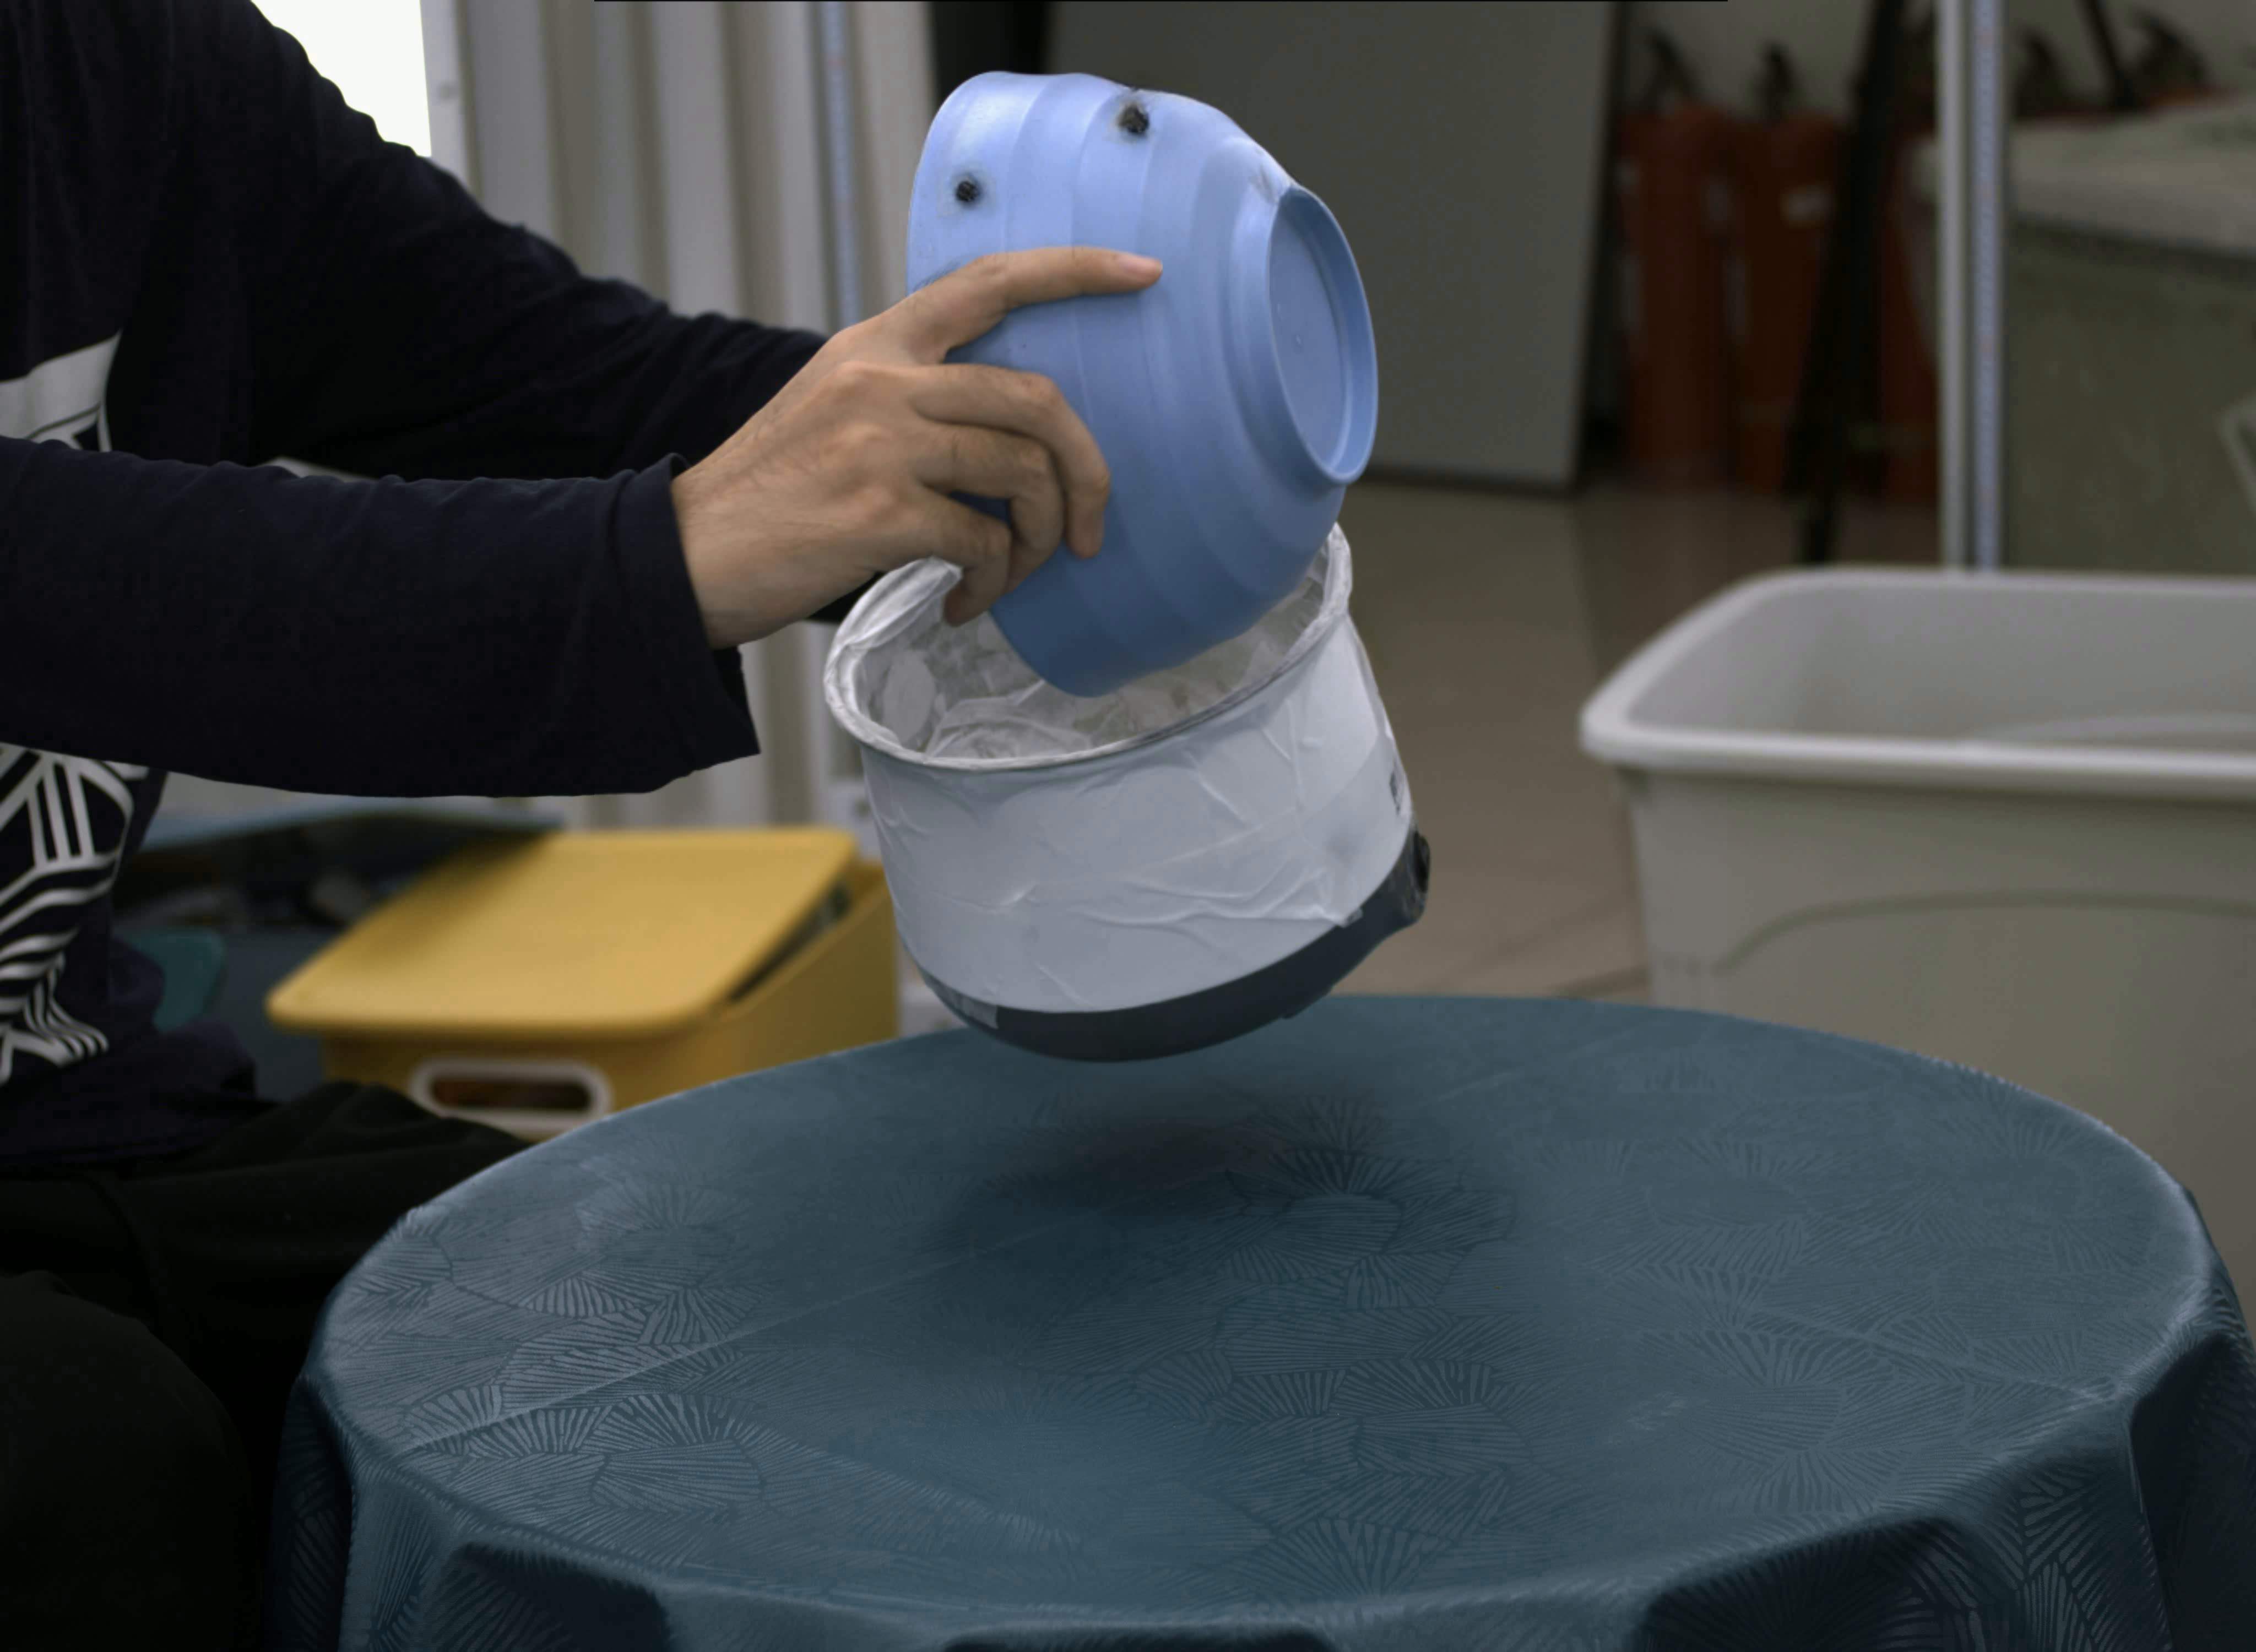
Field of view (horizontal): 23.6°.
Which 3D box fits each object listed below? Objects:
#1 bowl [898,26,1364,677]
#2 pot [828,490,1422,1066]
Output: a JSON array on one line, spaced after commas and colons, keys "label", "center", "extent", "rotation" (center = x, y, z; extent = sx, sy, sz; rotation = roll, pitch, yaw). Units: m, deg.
[{"label": "bowl", "center": [0.013, -0.147, 1.639], "extent": [0.095, 0.198, 0.194], "rotation": [-3, 12, 23]}, {"label": "pot", "center": [0.002, -0.034, 1.793], "extent": [0.177, 0.137, 0.234], "rotation": [-8, 33, 9]}]
